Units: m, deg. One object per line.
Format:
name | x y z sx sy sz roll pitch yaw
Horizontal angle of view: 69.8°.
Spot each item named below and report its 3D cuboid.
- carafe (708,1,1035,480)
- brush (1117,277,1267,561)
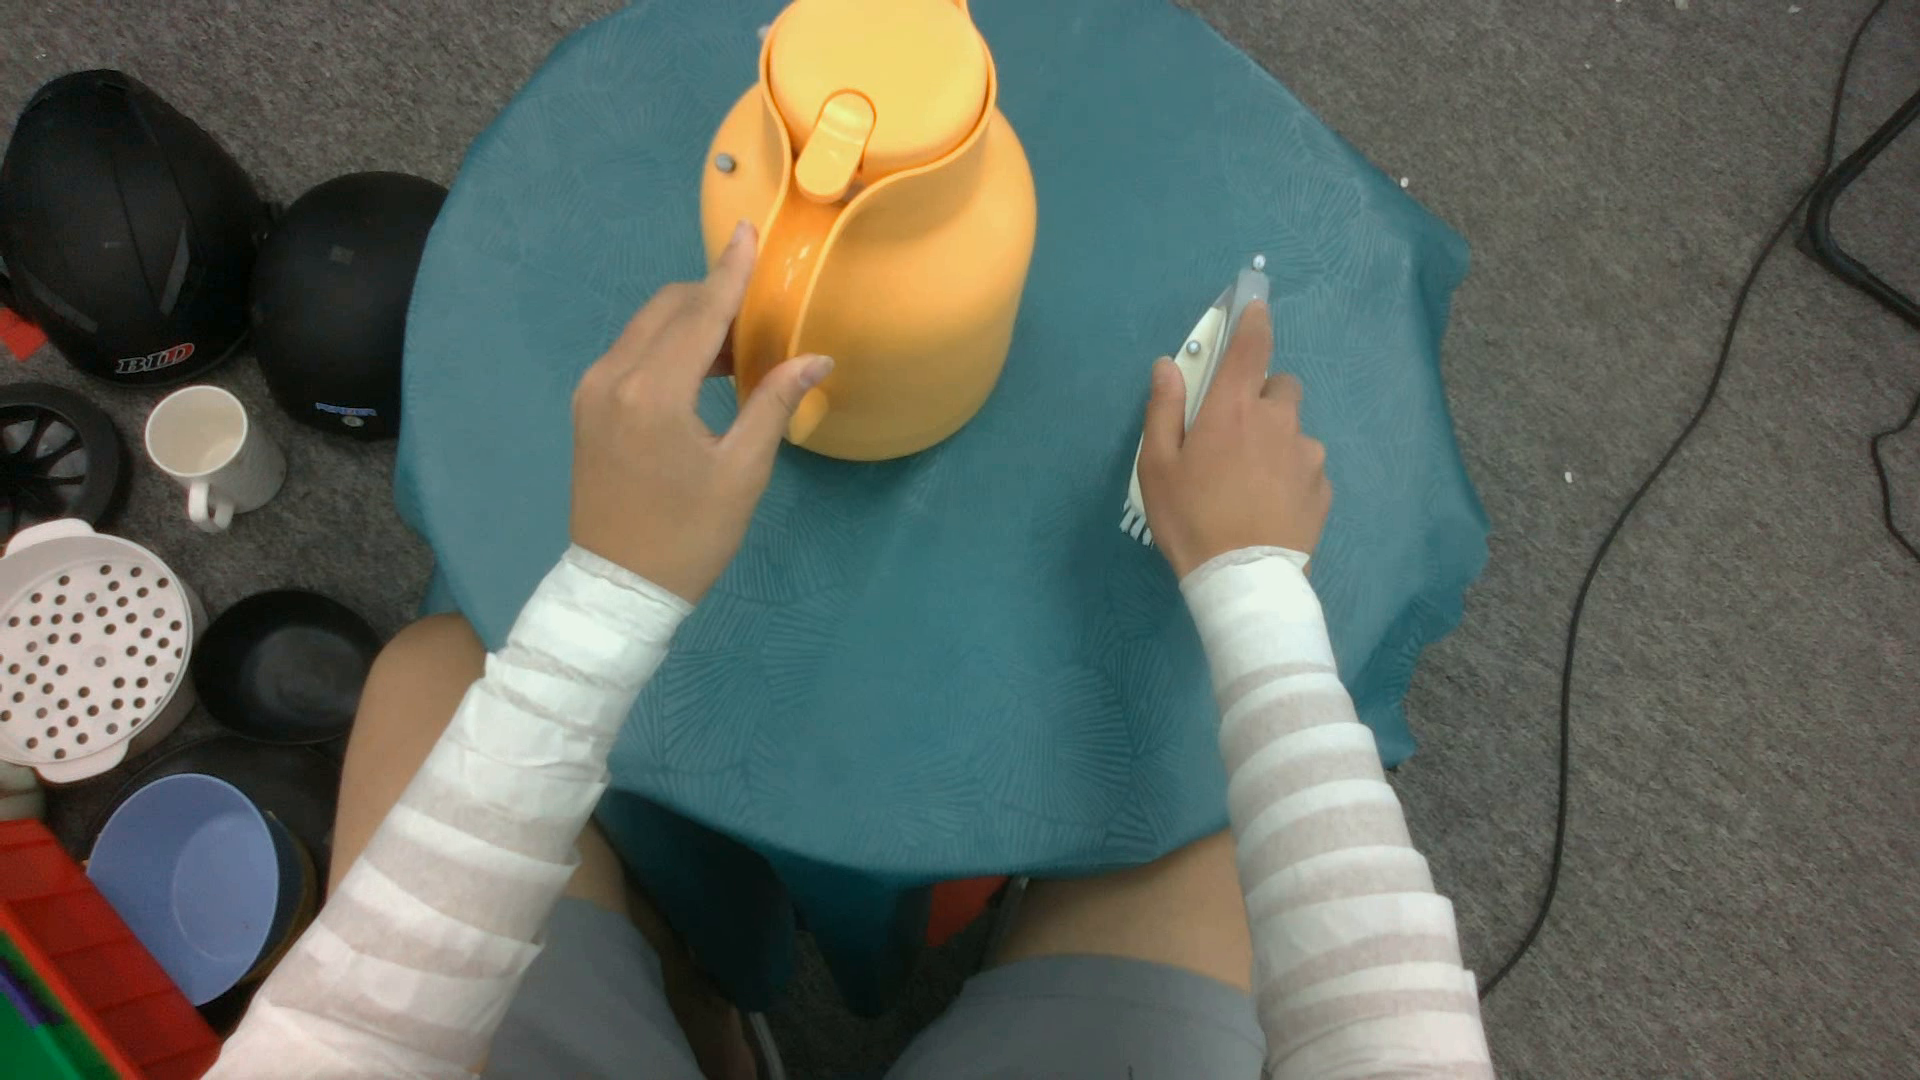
carafe | -0.053 -0.129 0.683 0.163 0.259 0.203 24 68 5
brush | 0.143 -0.084 0.774 0.061 0.094 0.176 20 67 1
